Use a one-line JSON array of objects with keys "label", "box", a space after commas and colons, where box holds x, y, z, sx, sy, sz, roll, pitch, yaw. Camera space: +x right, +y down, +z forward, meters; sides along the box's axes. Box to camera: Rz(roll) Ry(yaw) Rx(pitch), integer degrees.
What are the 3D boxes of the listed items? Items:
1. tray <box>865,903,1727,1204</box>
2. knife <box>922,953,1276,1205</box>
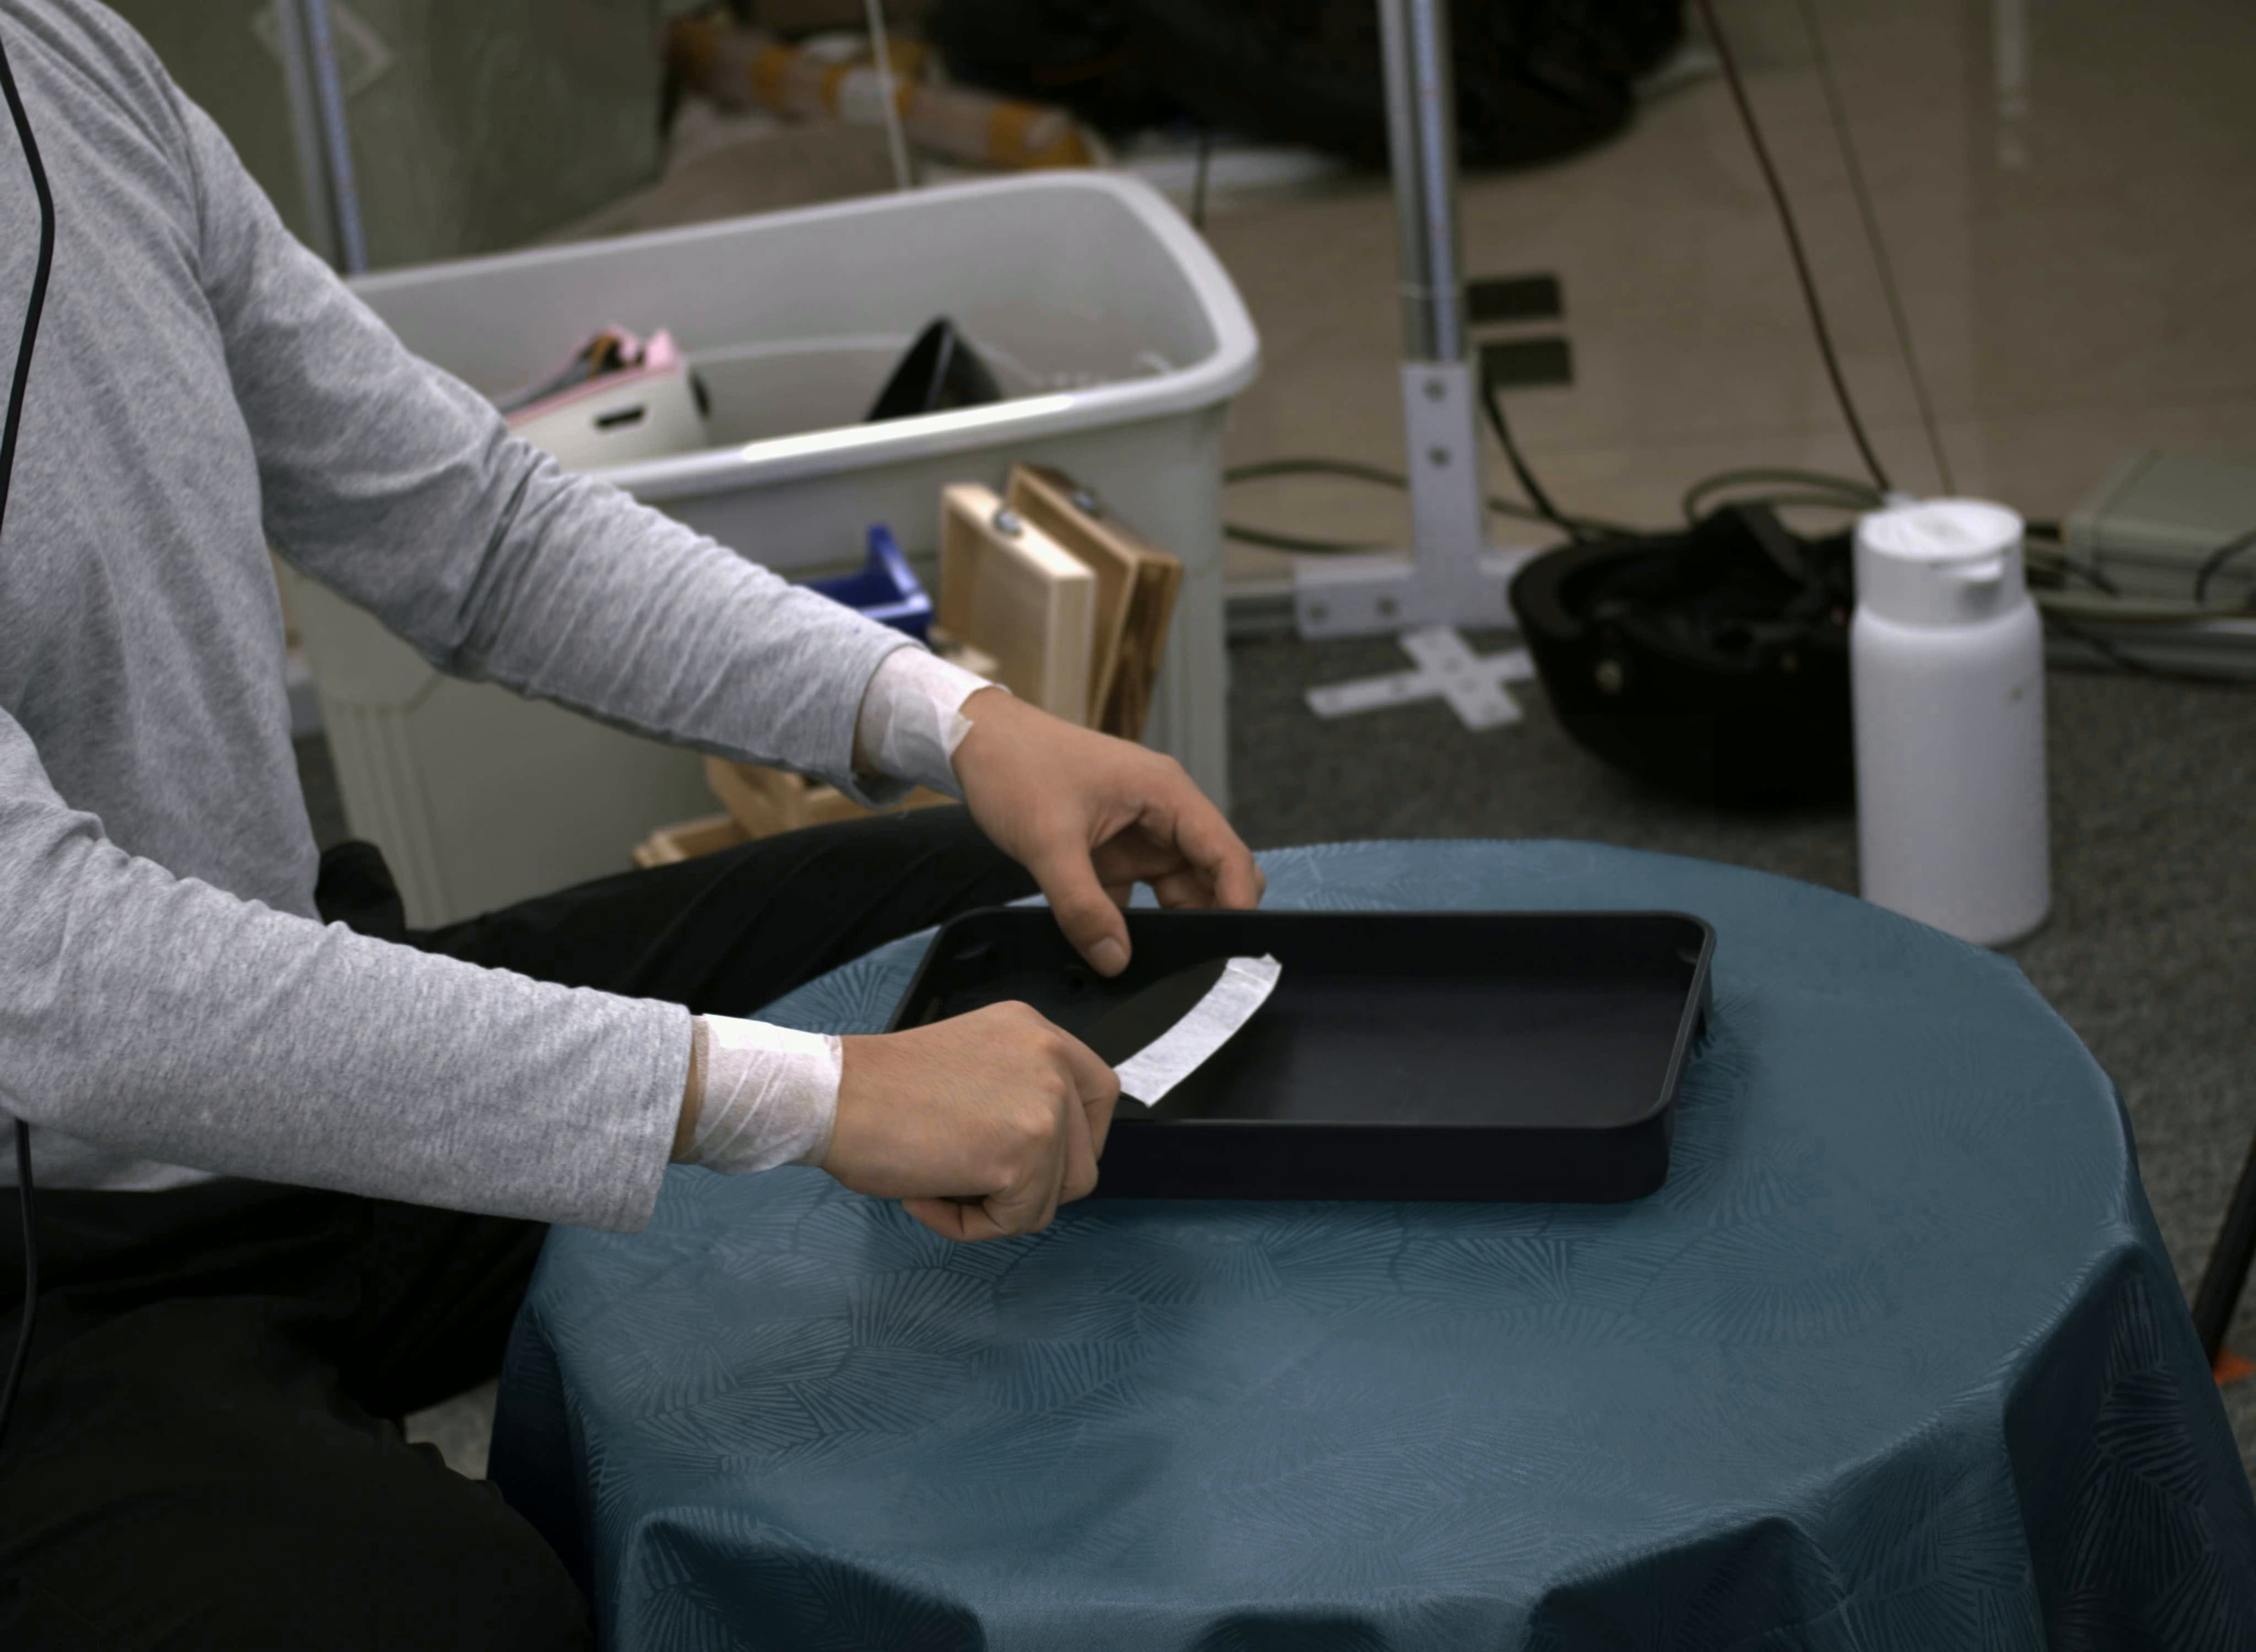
[{"label": "tray", "box": [0.069, 0.087, 2.203, 0.317, 0.037, 0.181, -1, 25, 12]}, {"label": "knife", "box": [-0.006, 0.090, 2.143, 0.050, 0.020, 0.286, 26, 24, 17]}]
